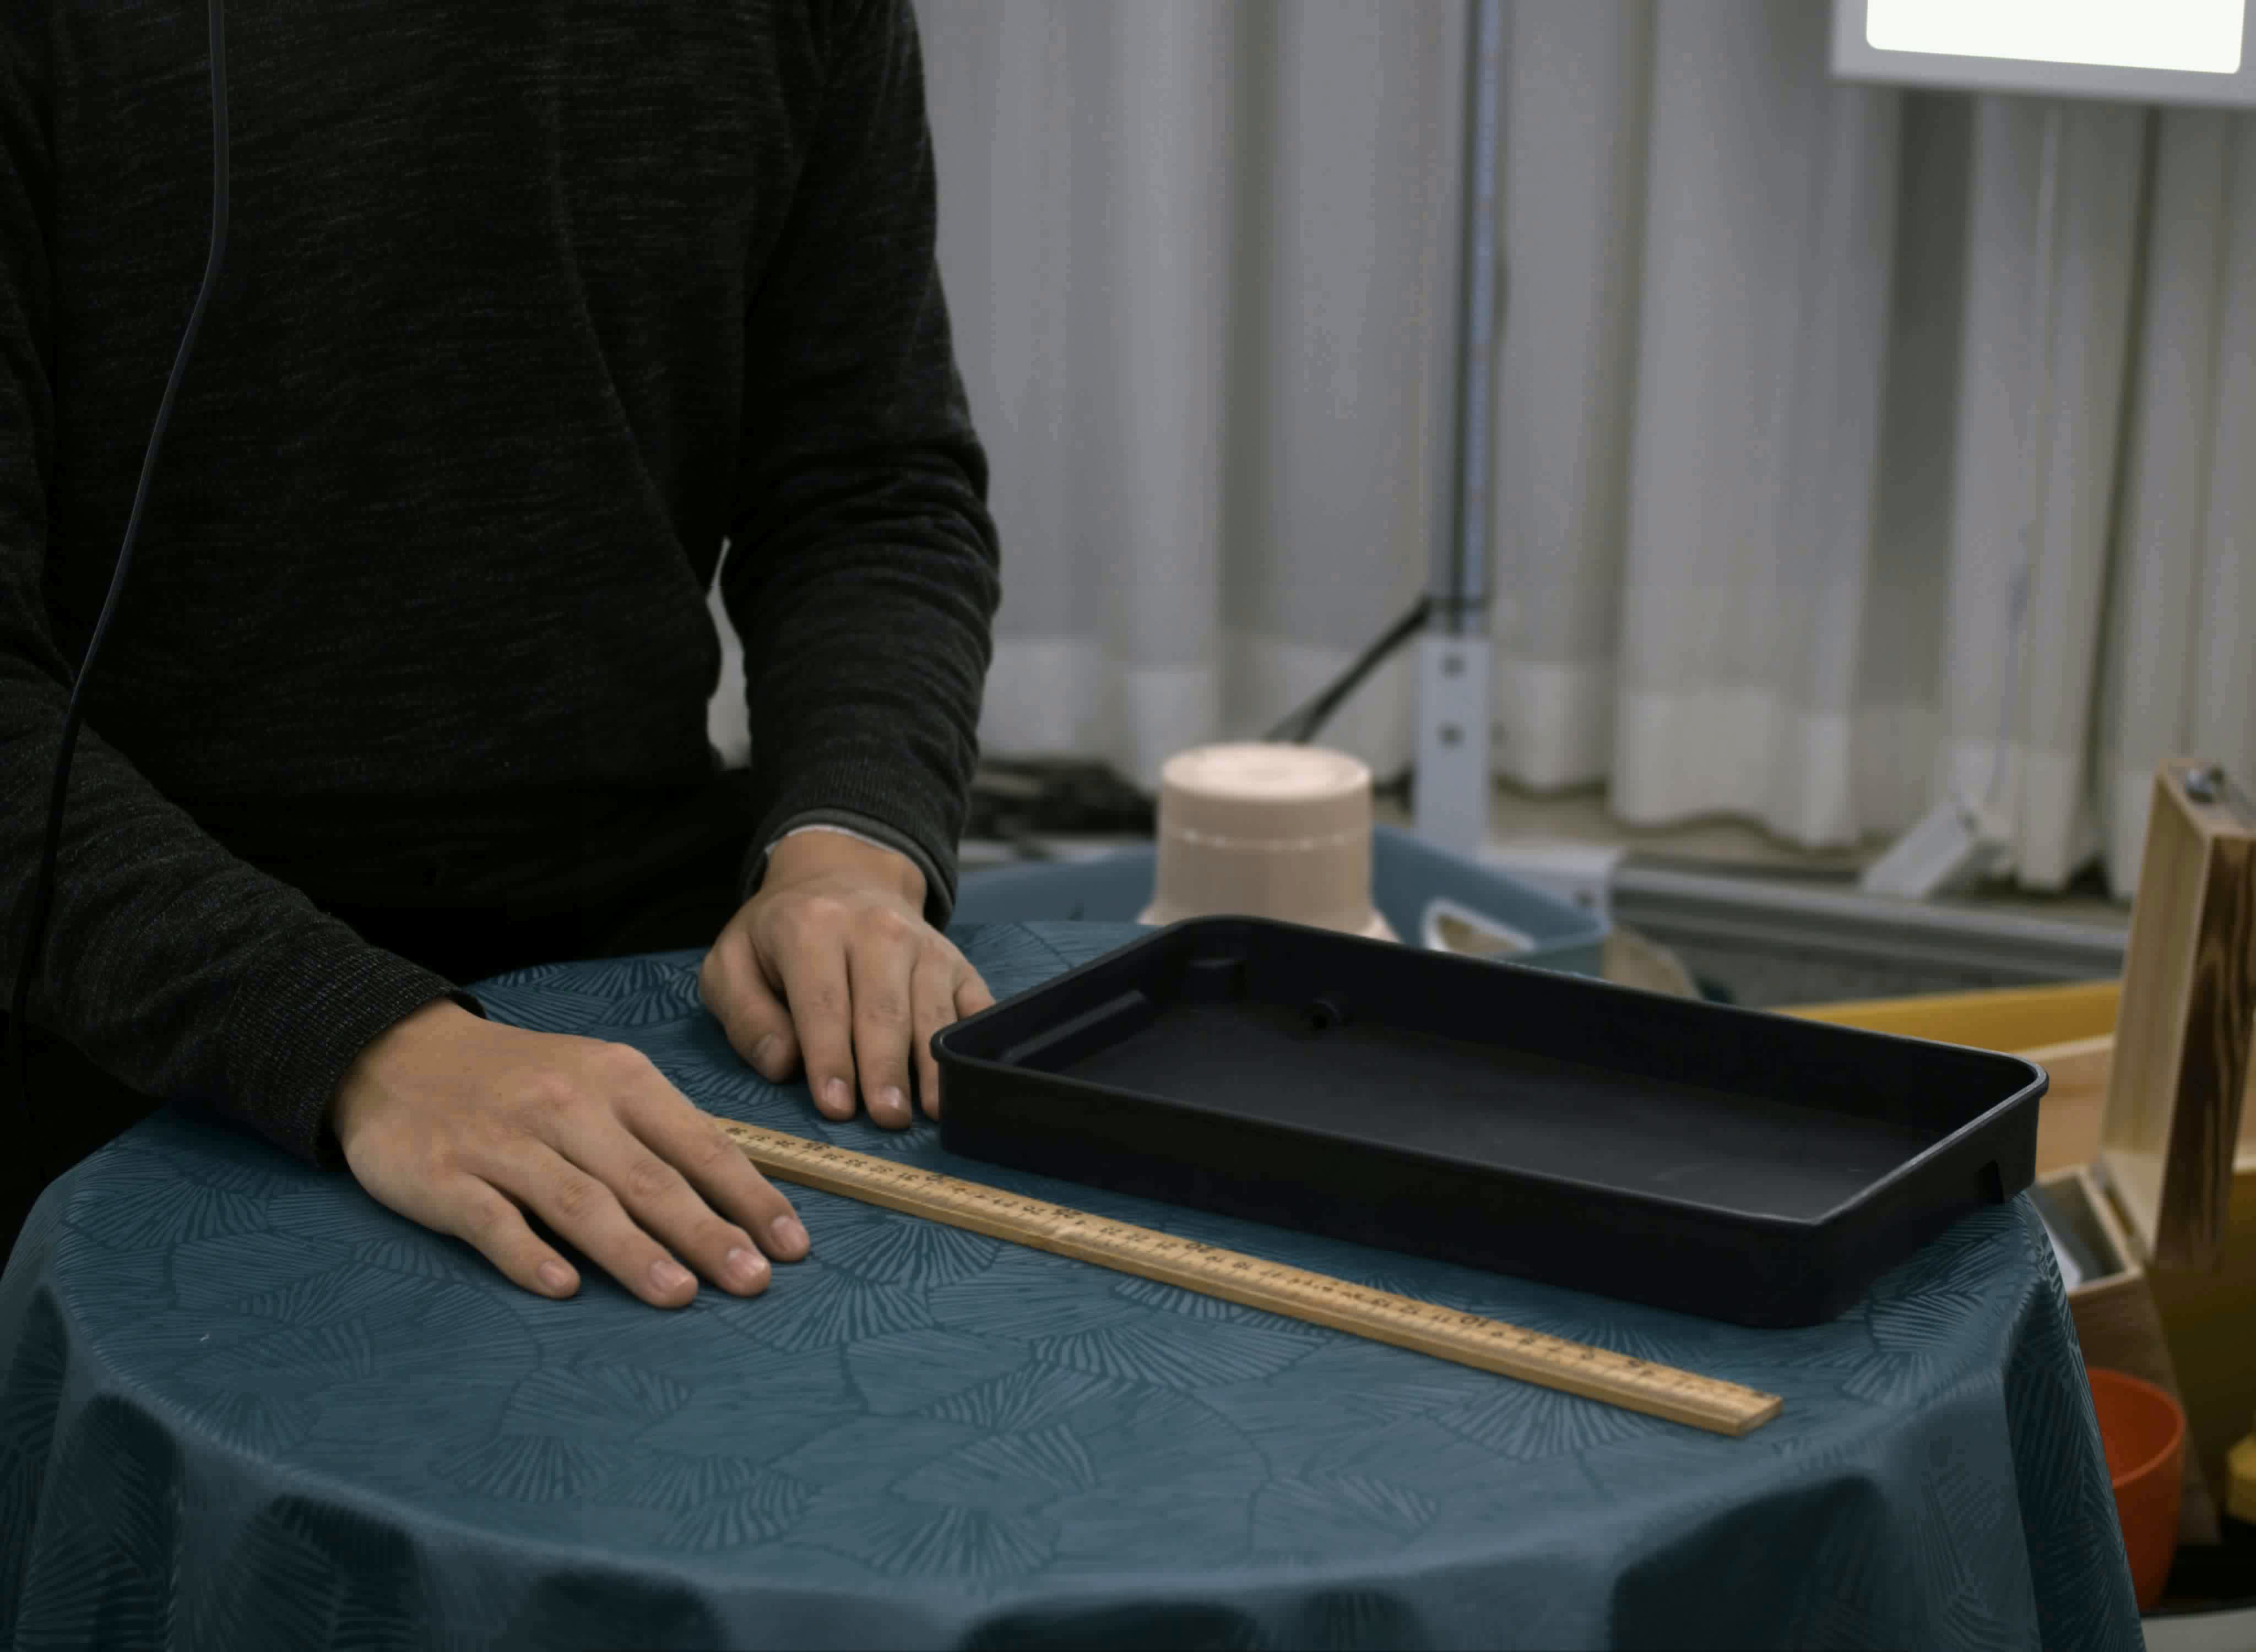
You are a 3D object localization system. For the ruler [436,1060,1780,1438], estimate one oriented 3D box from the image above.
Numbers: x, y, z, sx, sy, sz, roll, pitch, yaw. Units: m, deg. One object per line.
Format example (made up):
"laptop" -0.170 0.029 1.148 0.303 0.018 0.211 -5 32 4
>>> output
"ruler" -0.023 0.121 1.580 0.494 0.006 0.027 12 17 36

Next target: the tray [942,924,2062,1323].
"tray" 0.115 0.088 1.645 0.314 0.037 0.185 9 17 30
